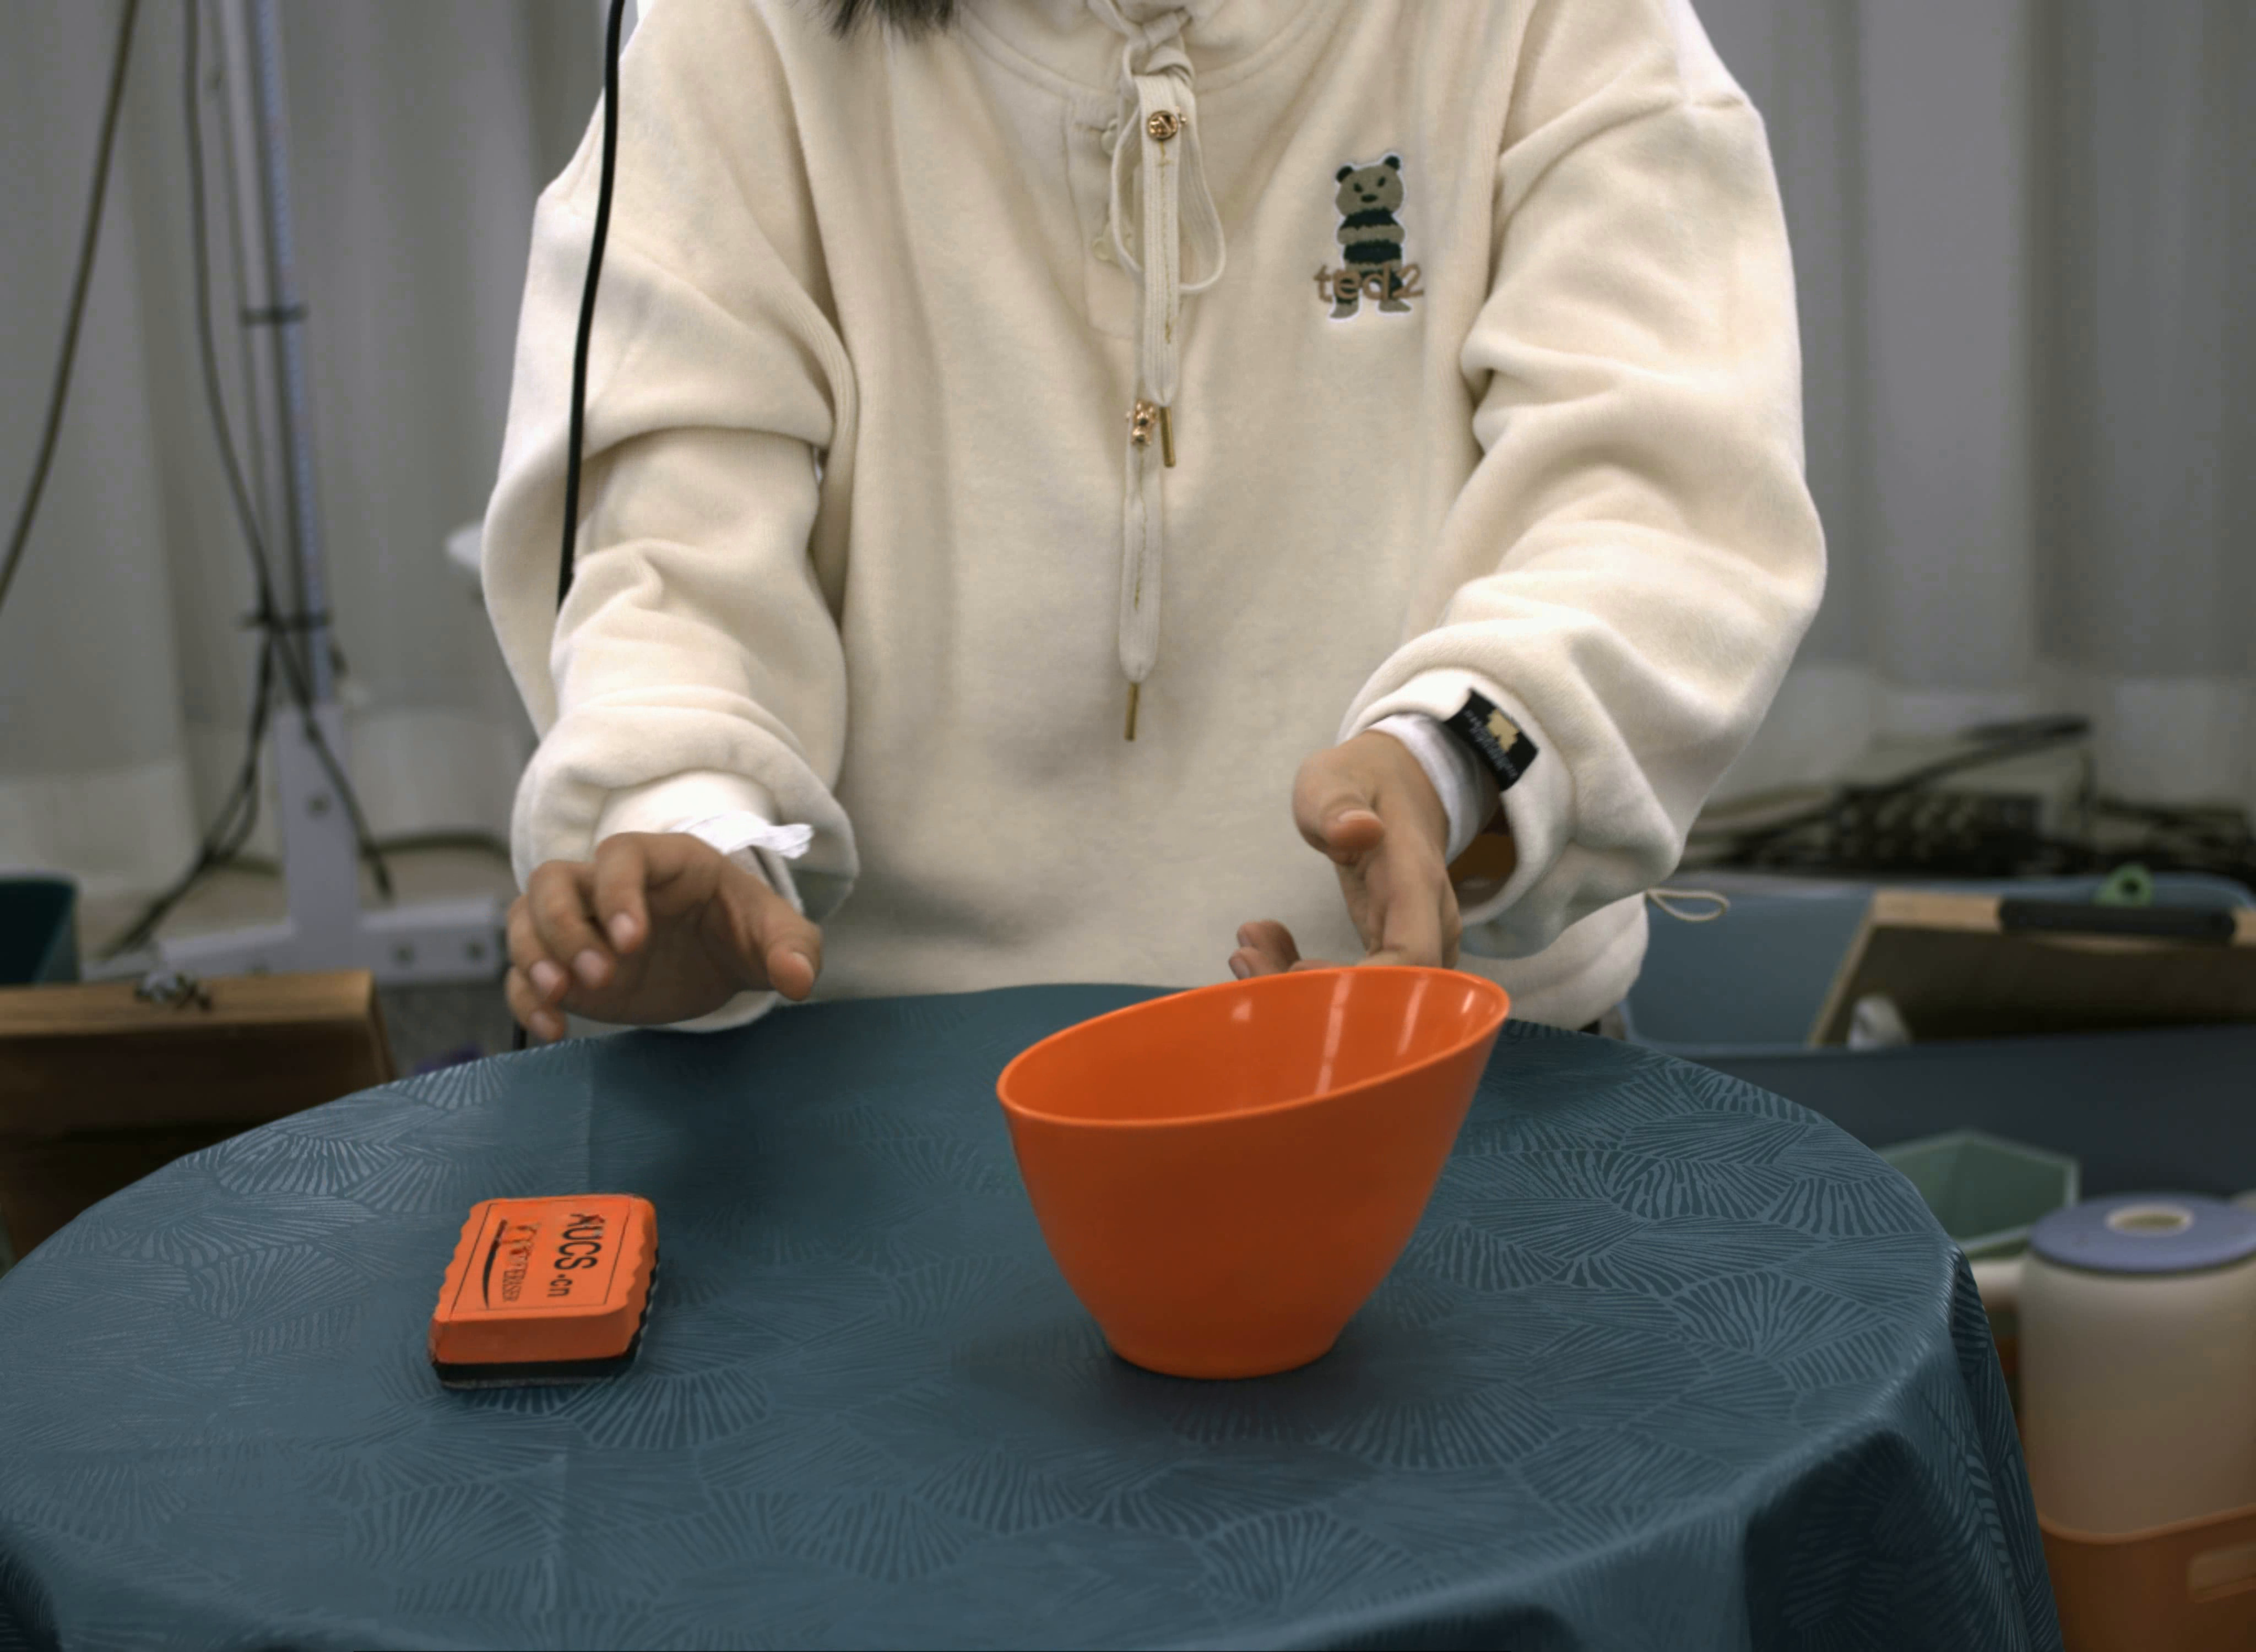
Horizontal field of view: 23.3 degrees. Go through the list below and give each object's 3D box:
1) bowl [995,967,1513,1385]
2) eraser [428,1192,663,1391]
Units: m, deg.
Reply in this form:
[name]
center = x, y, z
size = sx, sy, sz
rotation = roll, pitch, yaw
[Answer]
[bowl]
center = 0.035, 0.101, 1.560
size = 0.147, 0.104, 0.149
rotation = -1, 17, 0
[eraser]
center = -0.171, 0.137, 1.619
size = 0.059, 0.023, 0.109
rotation = -5, 15, 3
